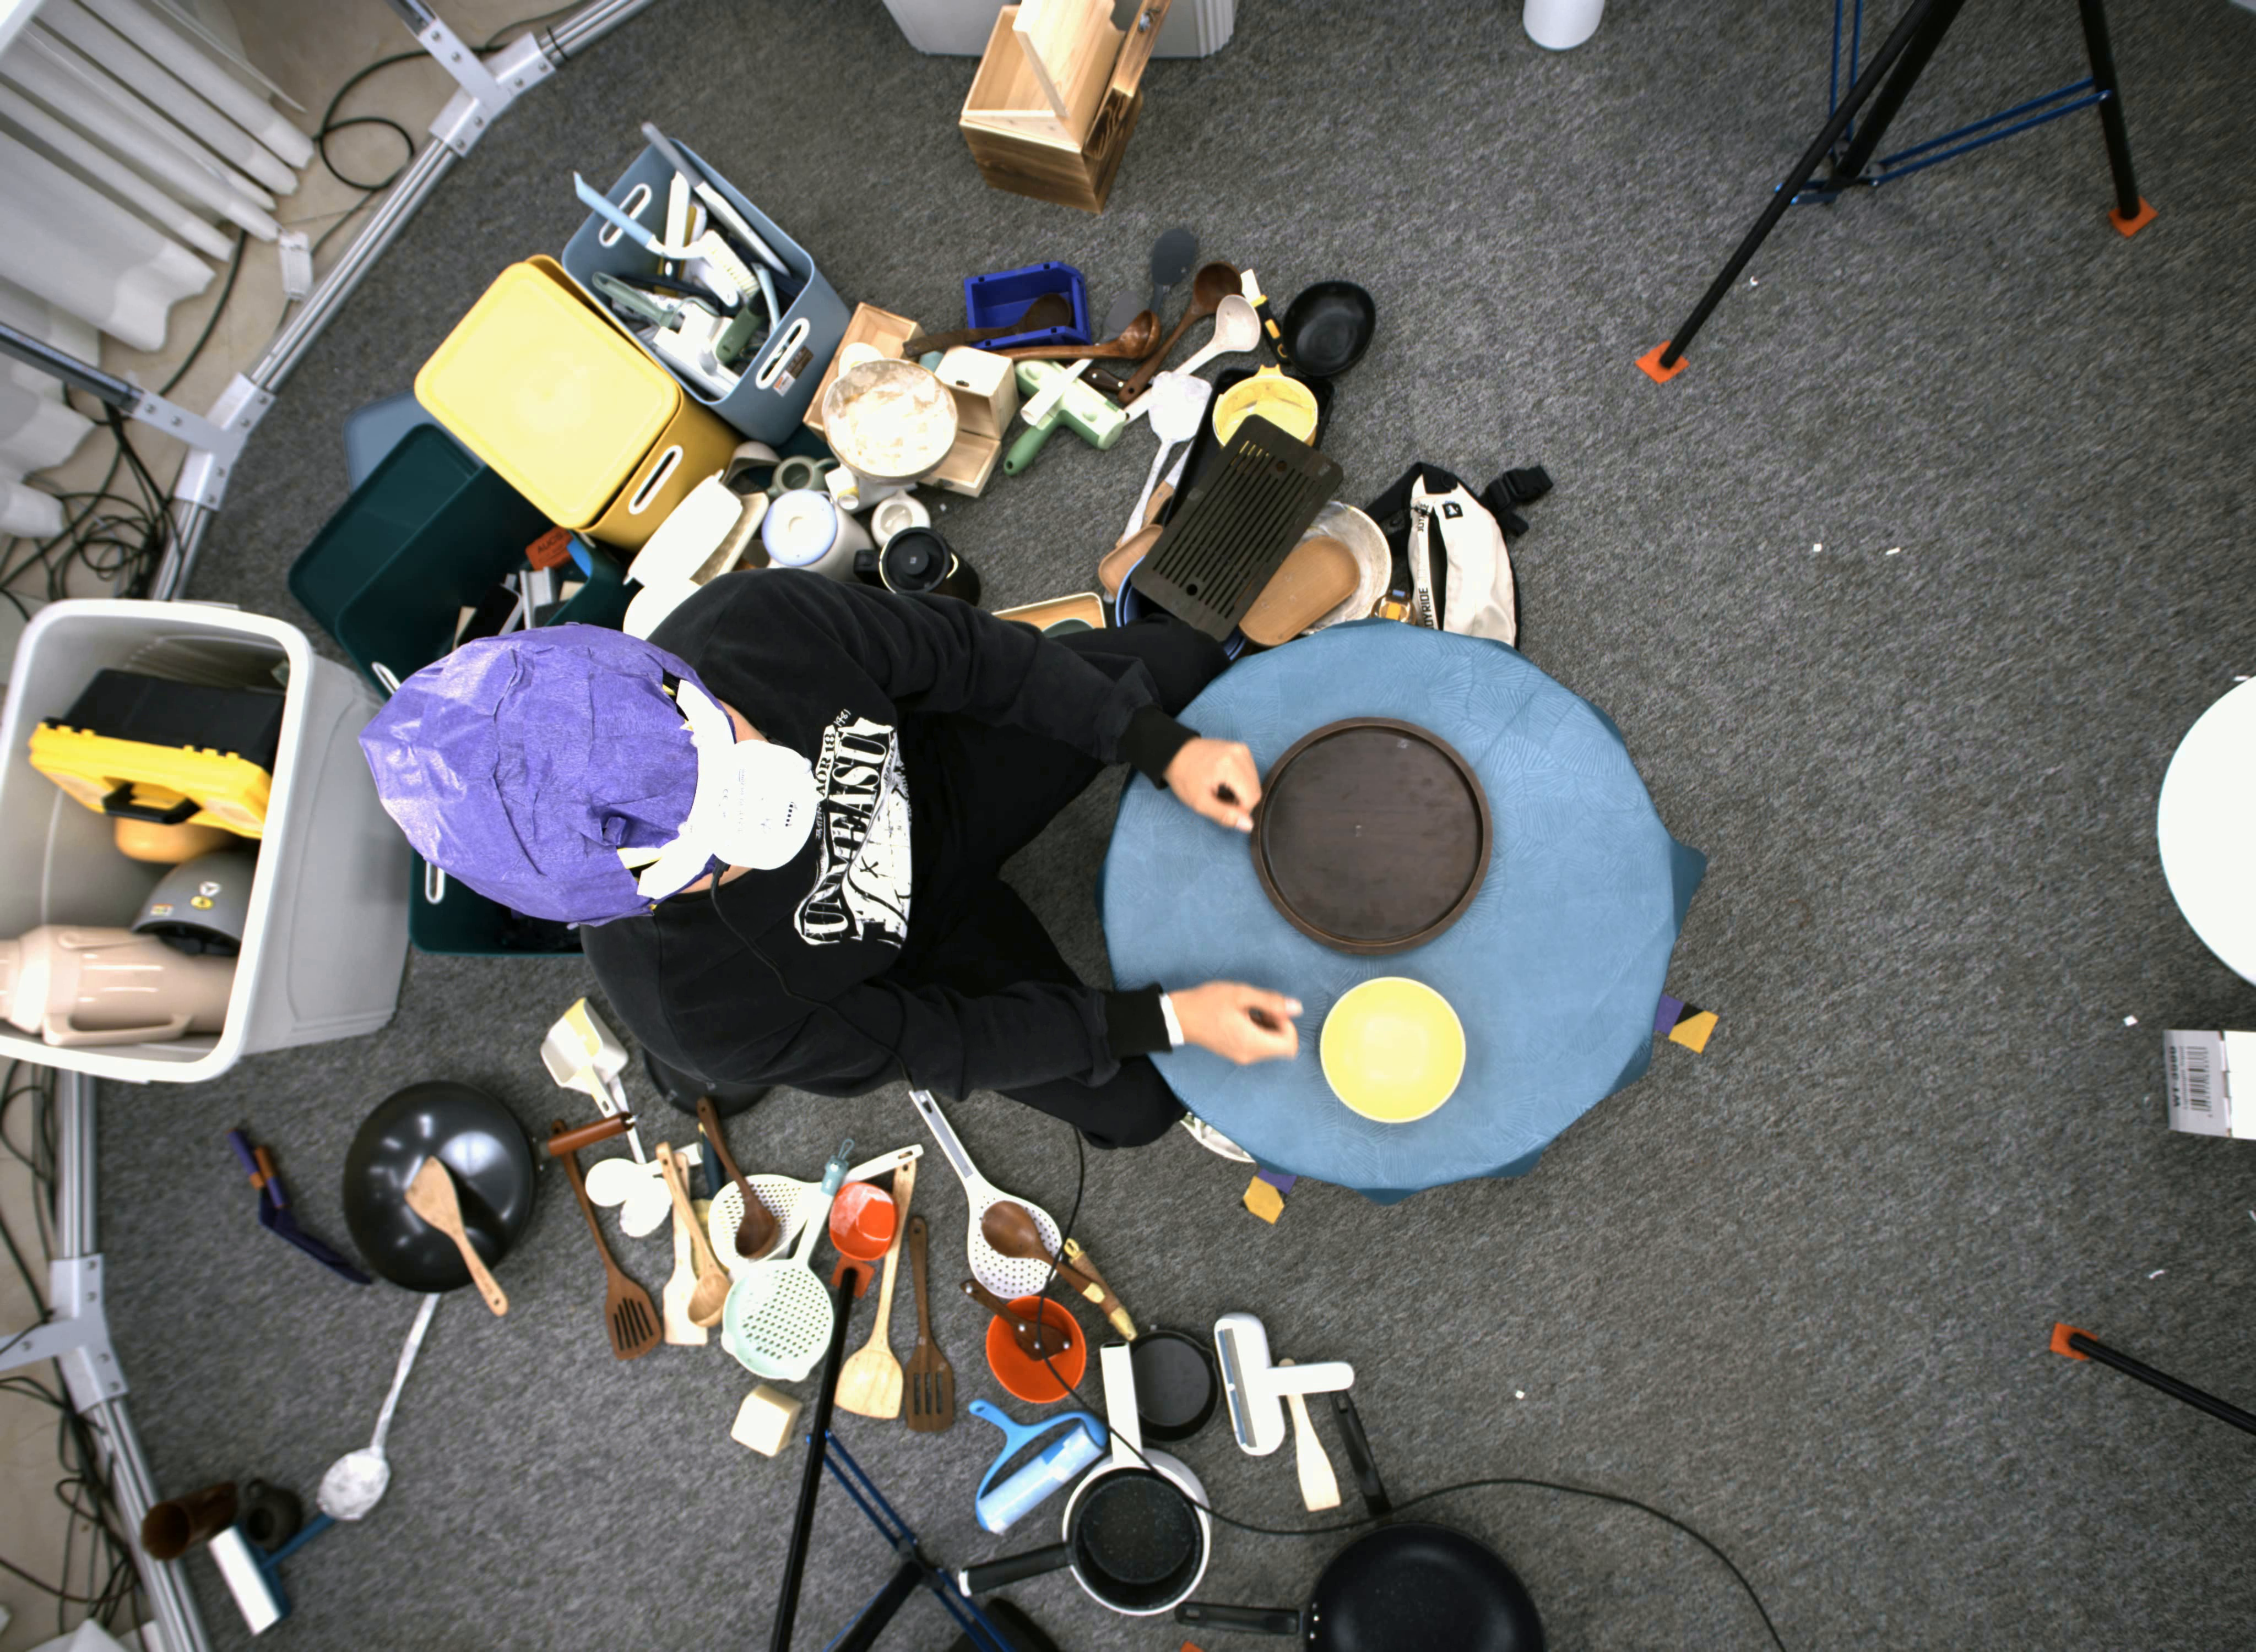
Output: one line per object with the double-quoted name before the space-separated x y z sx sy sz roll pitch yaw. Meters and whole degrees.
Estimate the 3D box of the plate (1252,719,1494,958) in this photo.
"plate" 0.258 0.012 1.460 0.256 0.029 0.254 -1 88 11

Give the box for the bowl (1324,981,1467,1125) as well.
"bowl" 0.275 0.232 1.425 0.146 0.060 0.144 -2 83 12
